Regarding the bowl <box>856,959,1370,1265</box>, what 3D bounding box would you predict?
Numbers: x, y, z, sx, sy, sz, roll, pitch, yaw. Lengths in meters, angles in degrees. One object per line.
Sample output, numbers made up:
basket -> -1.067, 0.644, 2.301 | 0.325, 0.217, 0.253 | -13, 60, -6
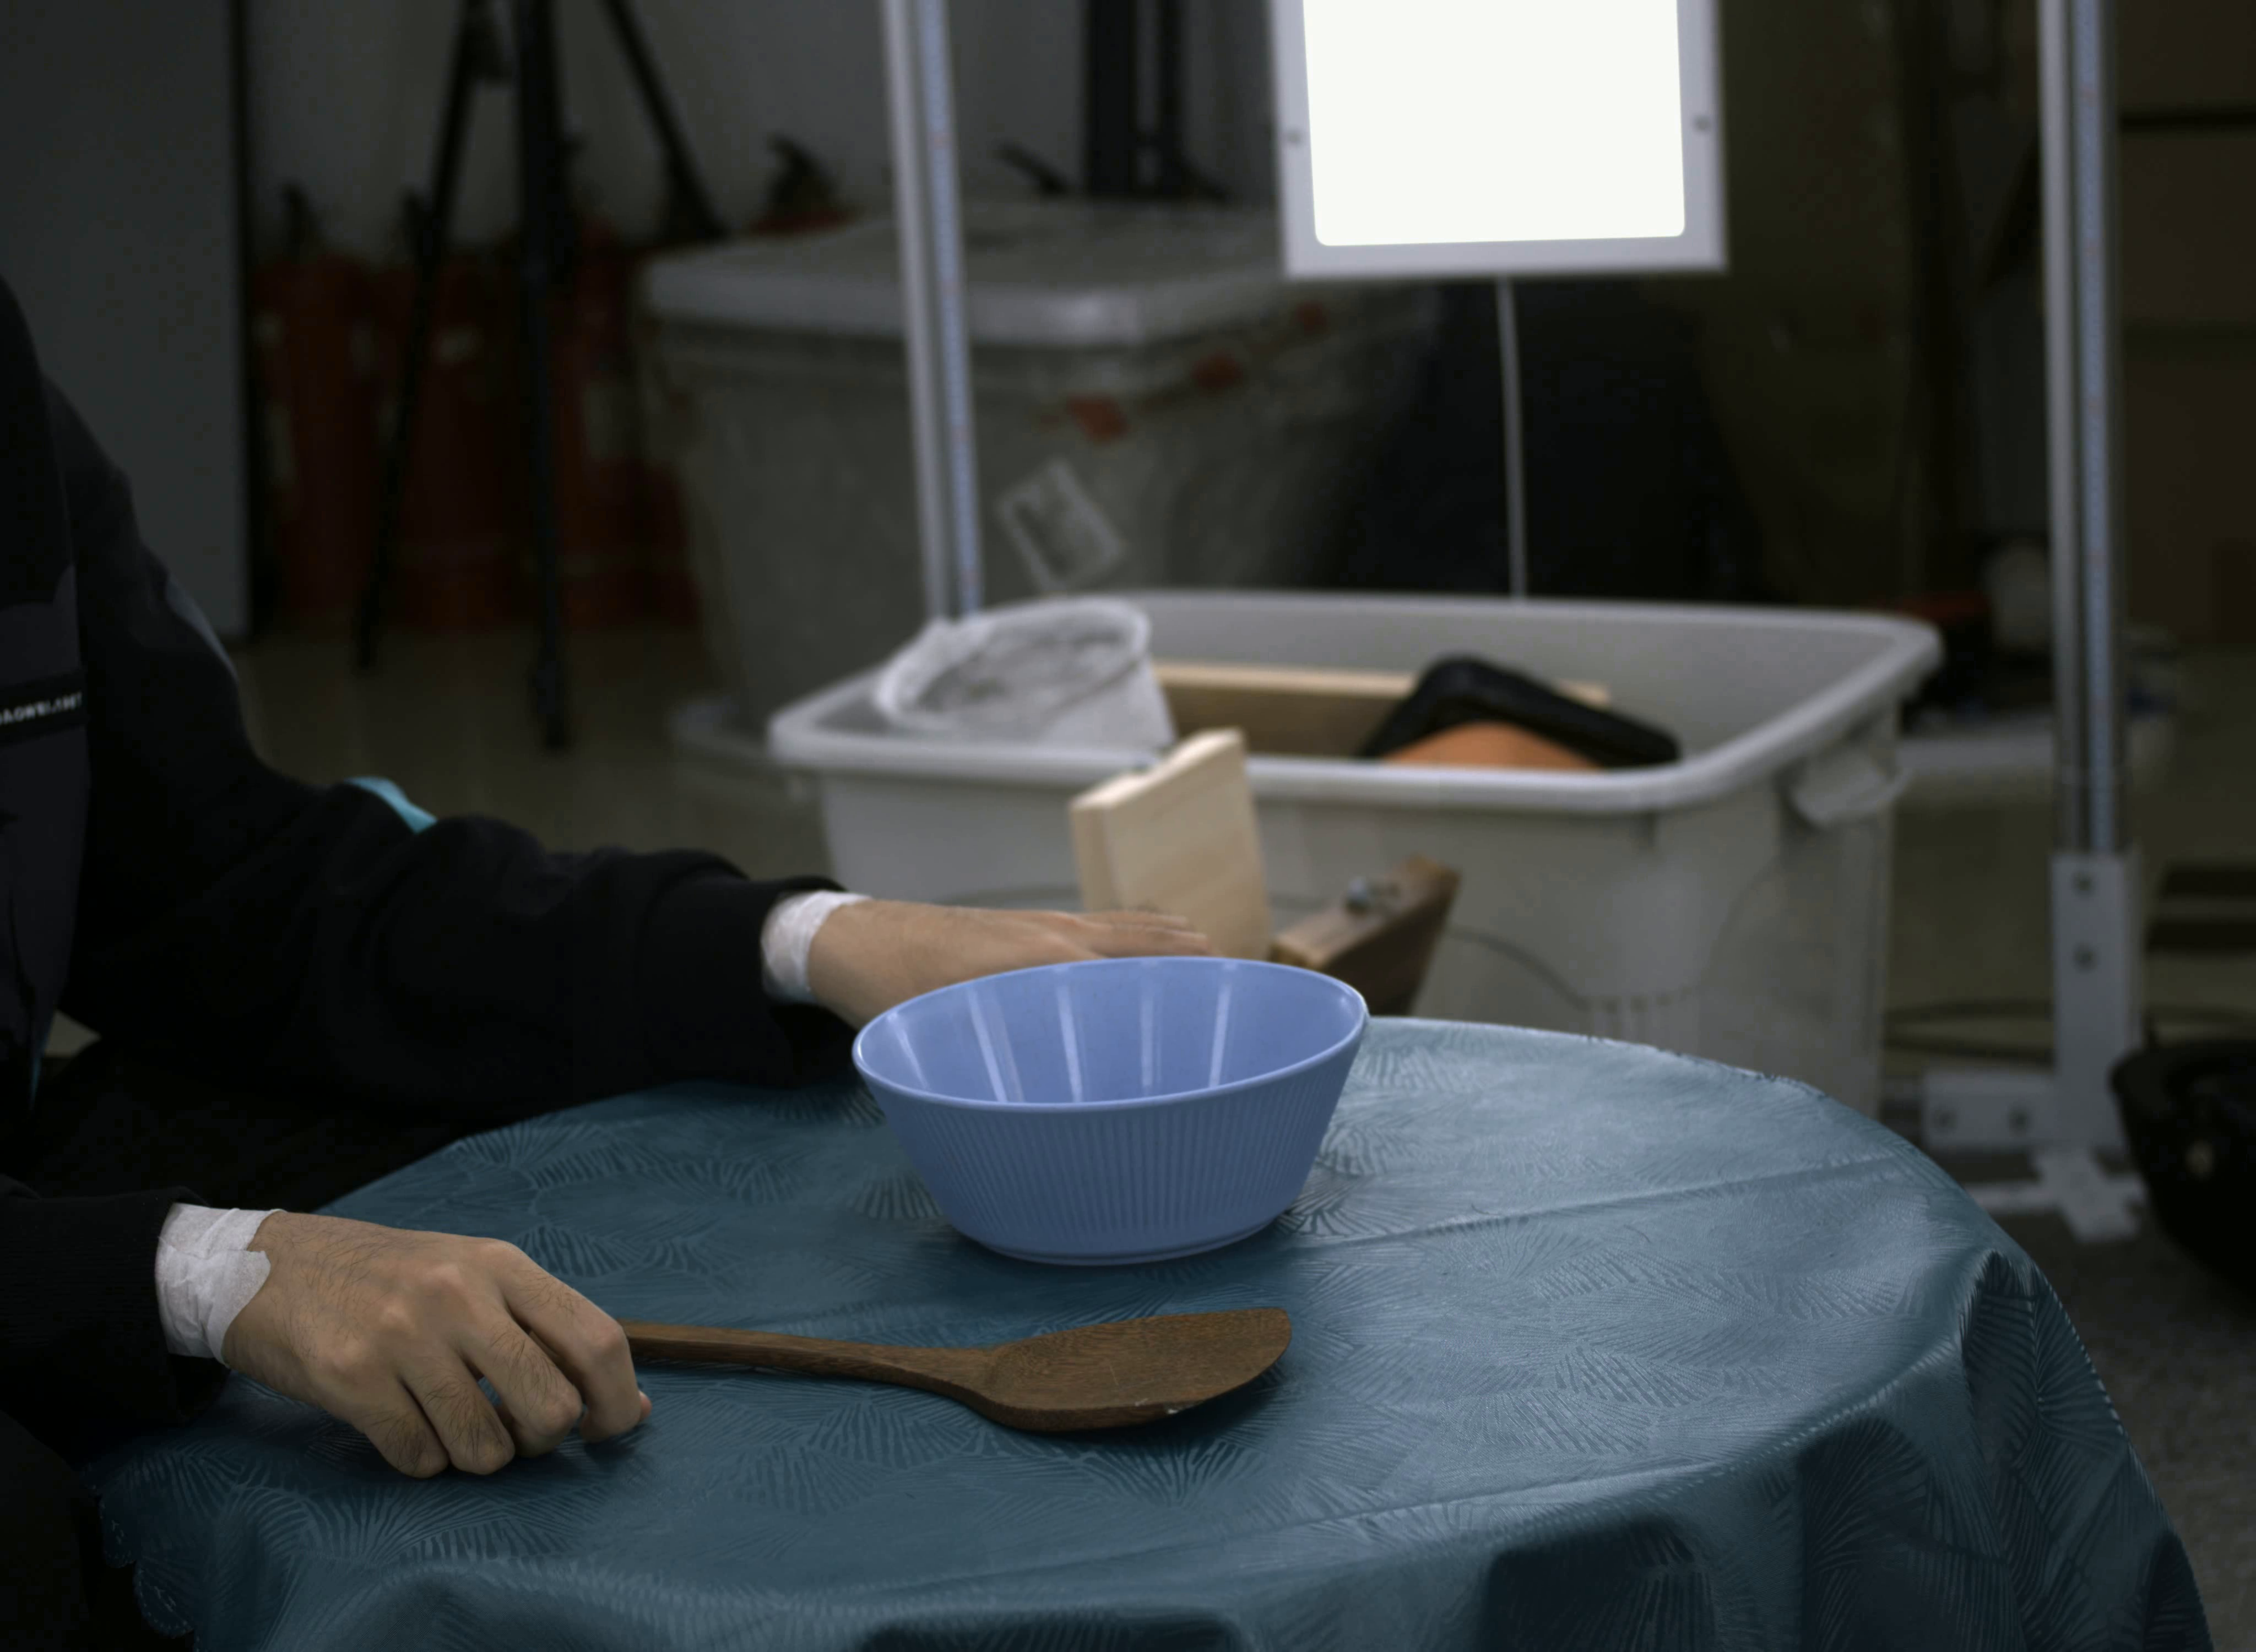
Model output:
bowl -> -0.002, 0.099, 1.863 | 0.175, 0.070, 0.176 | -6, 13, 0

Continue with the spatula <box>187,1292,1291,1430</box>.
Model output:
spatula -> -0.133, 0.165, 1.758 | 0.392, 0.016, 0.094 | 1, 14, 24
